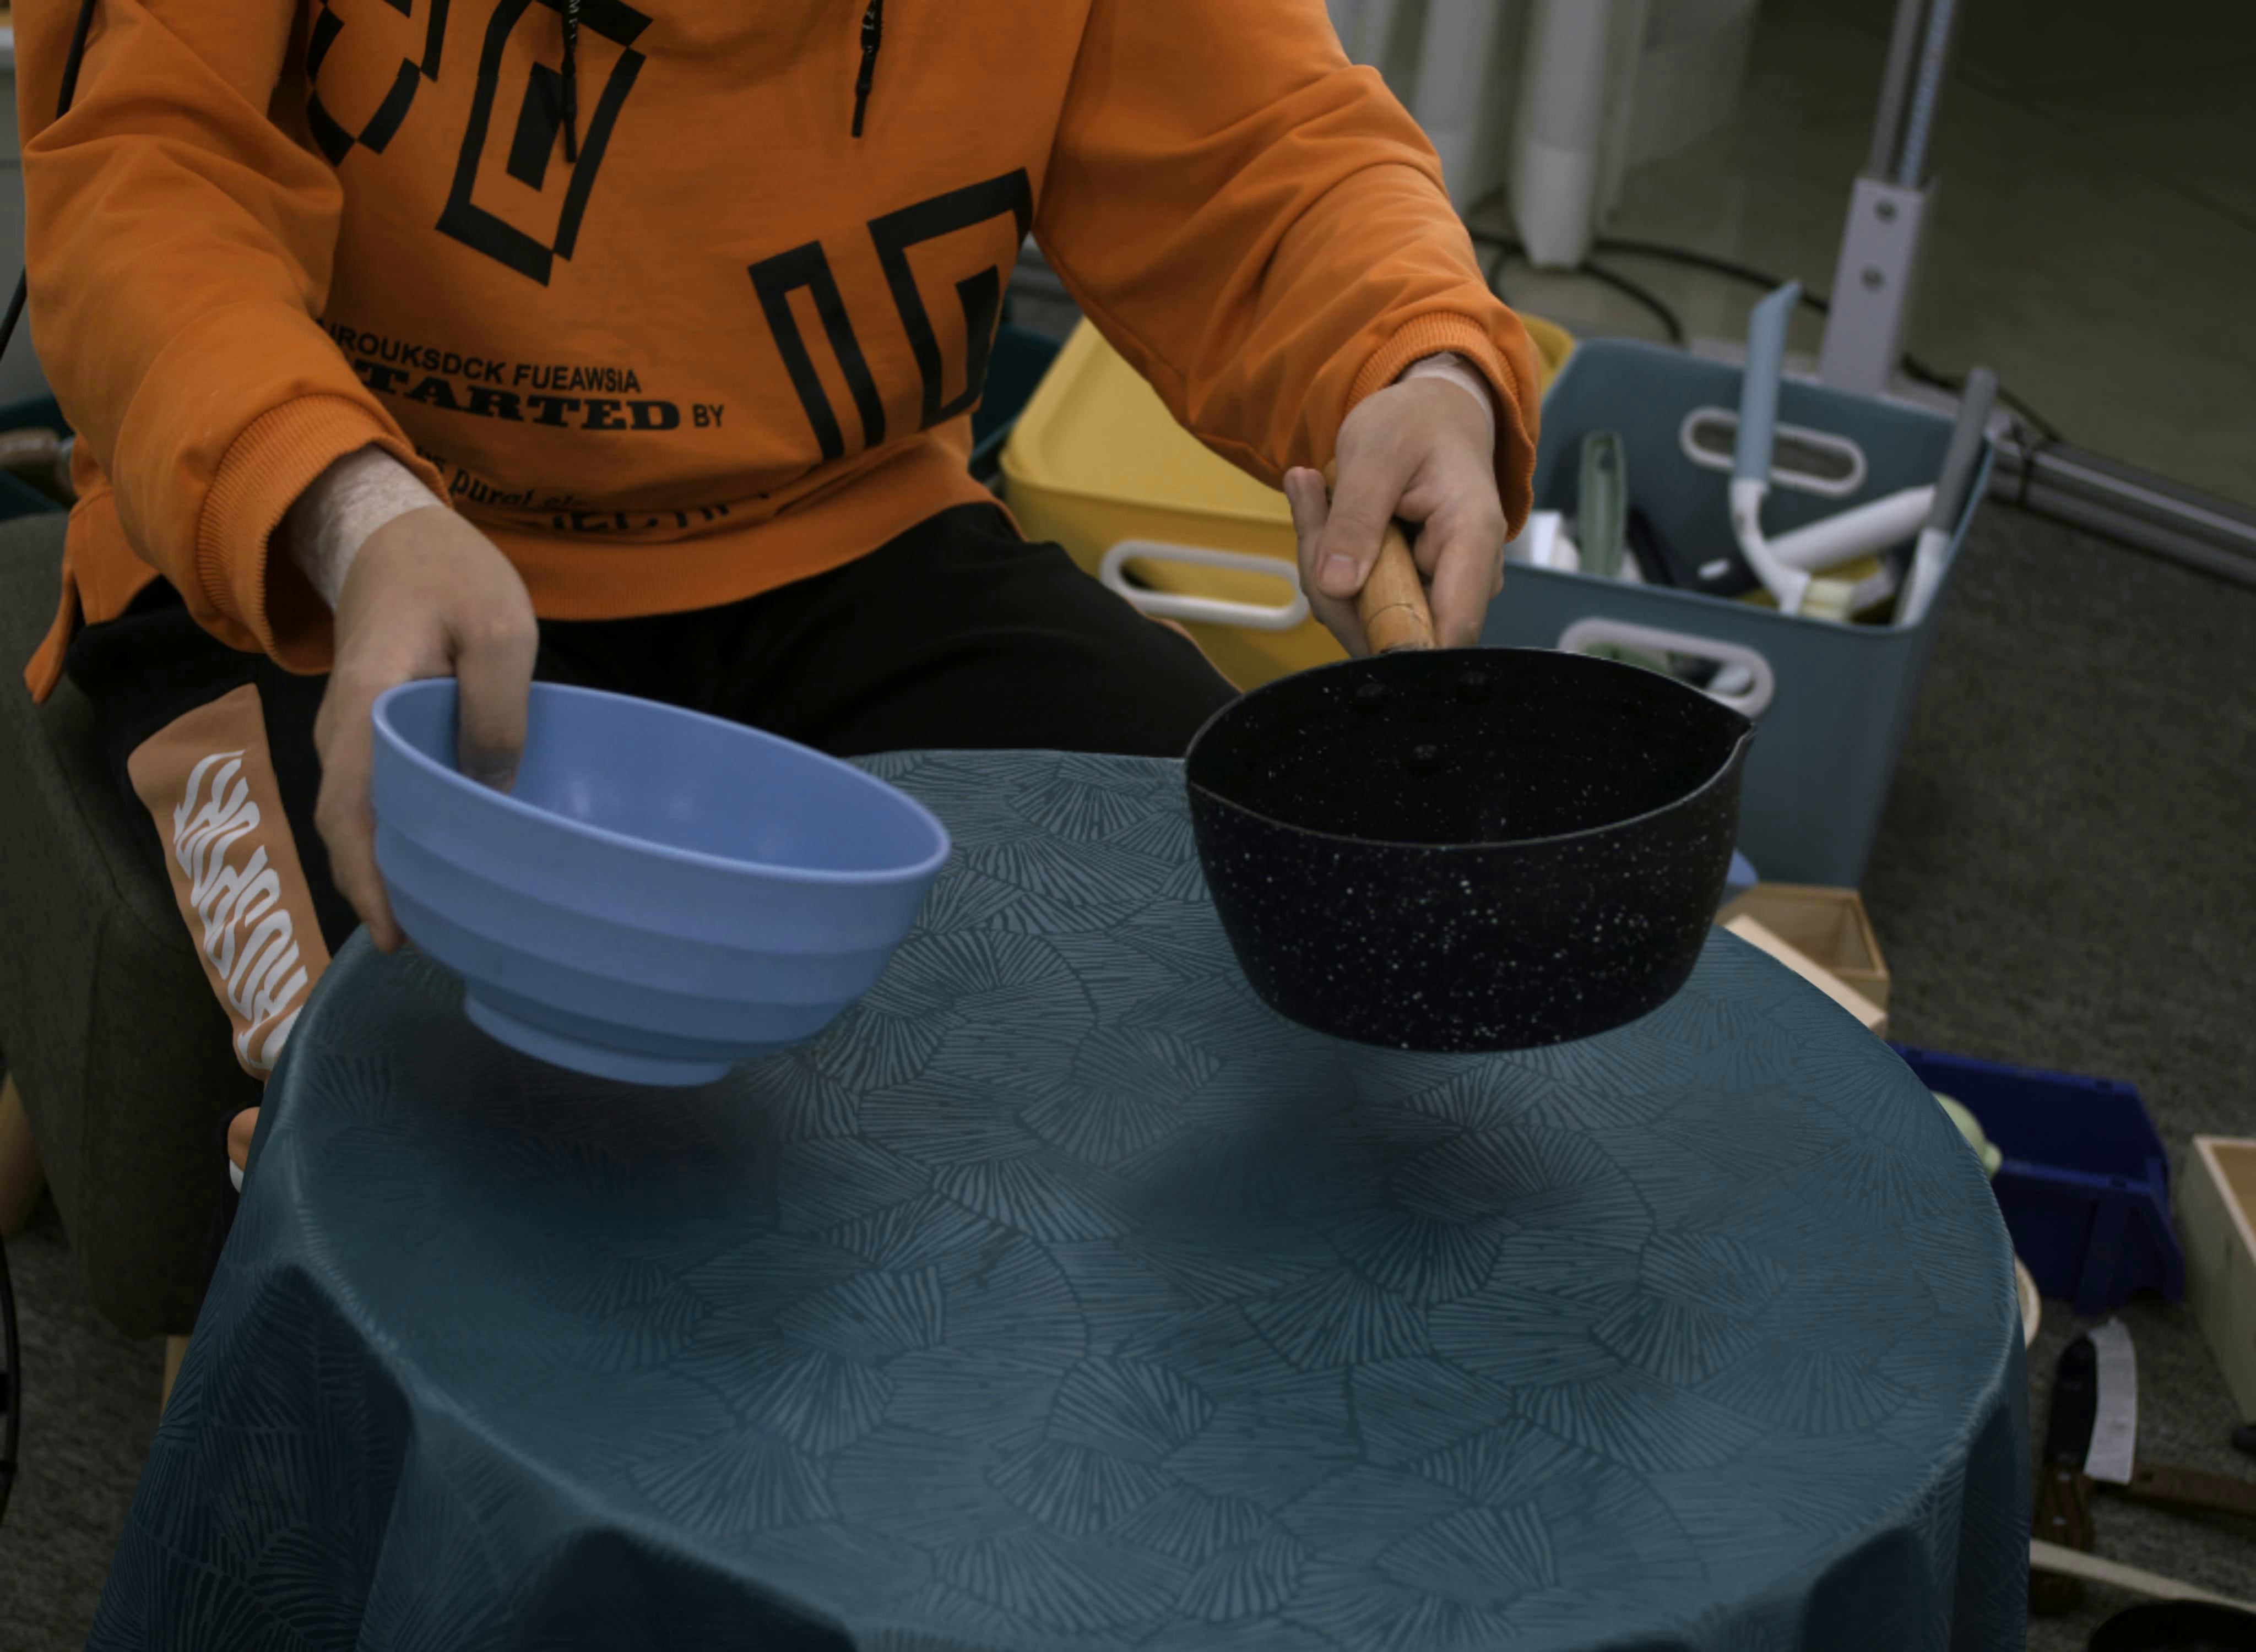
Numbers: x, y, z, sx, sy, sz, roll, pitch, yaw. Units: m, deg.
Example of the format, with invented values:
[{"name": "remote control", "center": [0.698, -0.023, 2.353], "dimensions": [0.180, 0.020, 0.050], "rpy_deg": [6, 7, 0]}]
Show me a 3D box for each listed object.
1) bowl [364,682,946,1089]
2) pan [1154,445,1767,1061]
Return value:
[{"name": "bowl", "center": [-0.166, 0.027, 1.762], "dimensions": [0.196, 0.095, 0.197], "rpy_deg": [14, 13, -4]}, {"name": "pan", "center": [0.104, -0.030, 1.869], "dimensions": [0.207, 0.108, 0.345], "rpy_deg": [-6, 23, -5]}]
